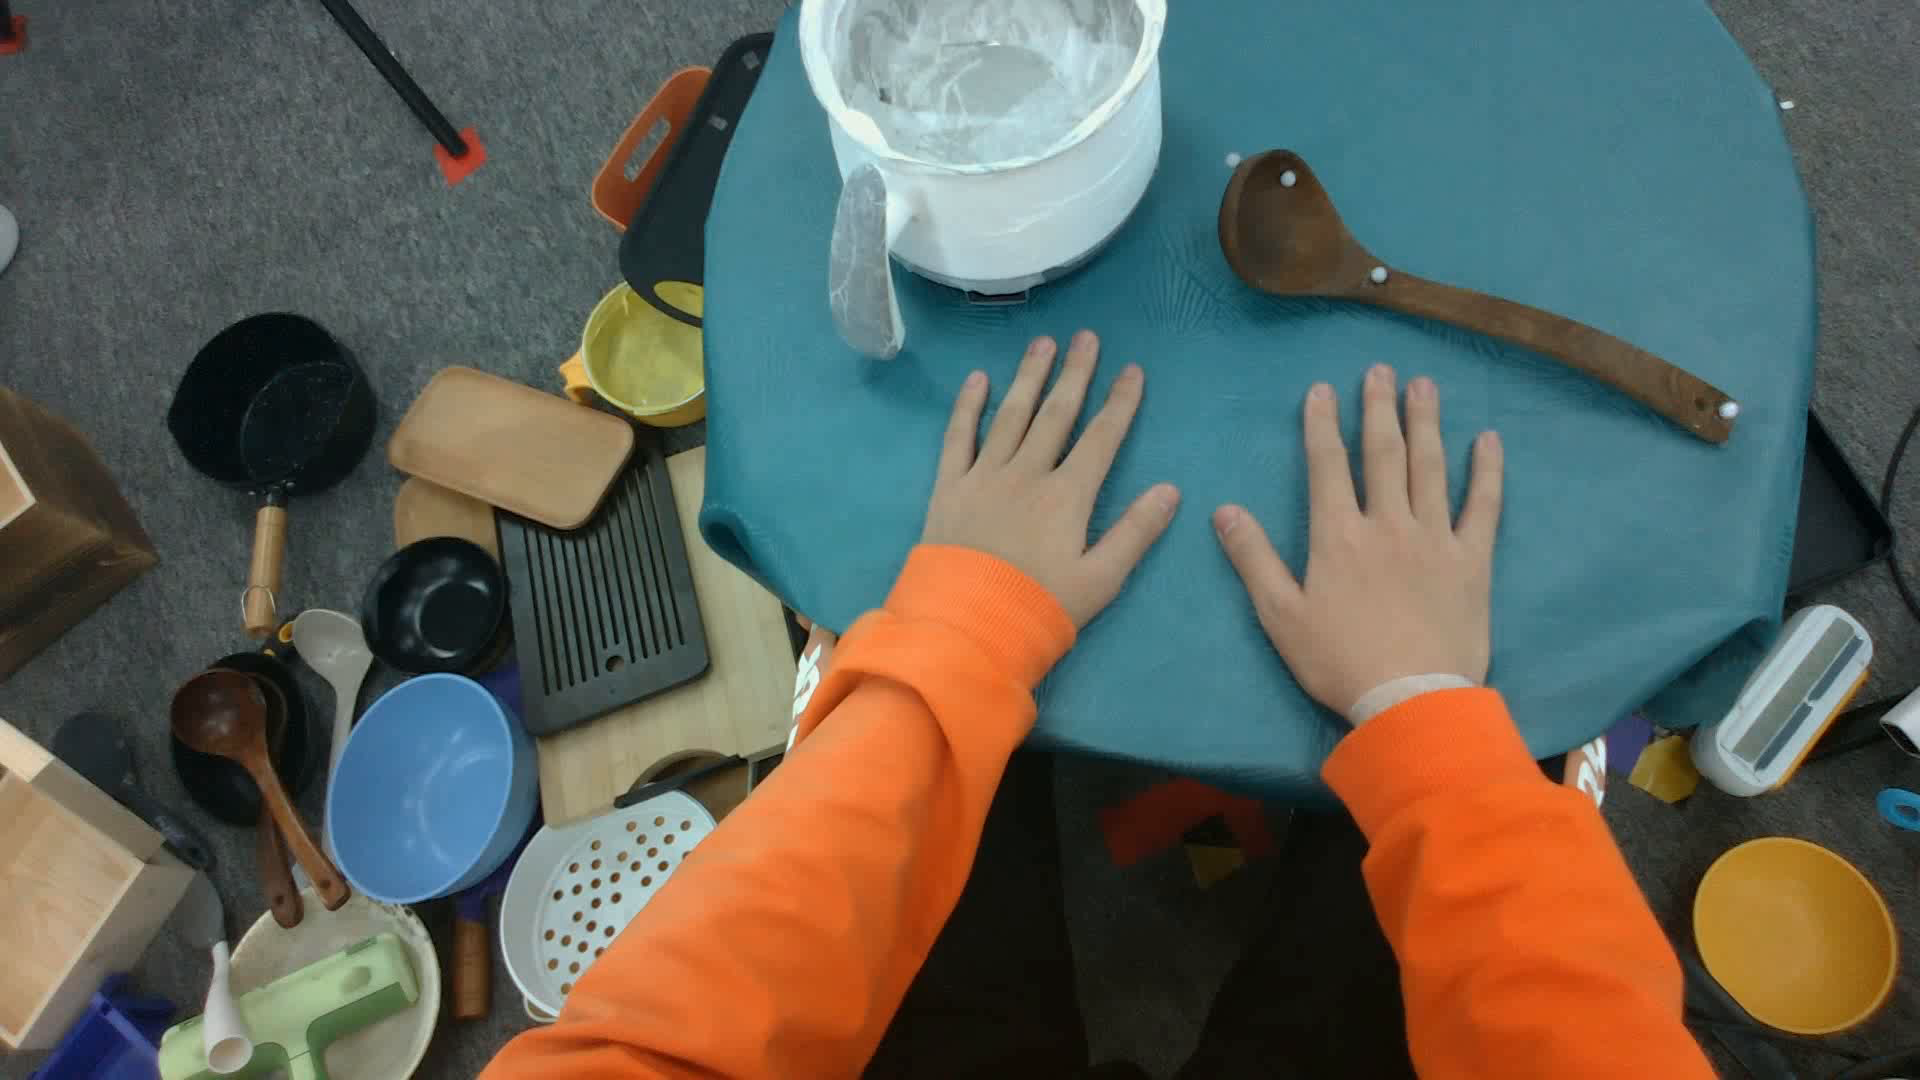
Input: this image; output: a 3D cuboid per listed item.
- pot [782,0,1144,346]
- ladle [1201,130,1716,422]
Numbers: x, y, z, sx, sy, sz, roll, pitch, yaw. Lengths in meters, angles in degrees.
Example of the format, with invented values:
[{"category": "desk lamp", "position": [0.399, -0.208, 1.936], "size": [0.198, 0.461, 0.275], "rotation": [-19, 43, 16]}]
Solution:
[{"category": "pot", "position": [-0.006, -0.216, 0.719], "size": [0.178, 0.136, 0.234], "rotation": [27, 76, 15]}, {"category": "ladle", "position": [0.253, -0.132, 0.696], "size": [0.274, 0.071, 0.076], "rotation": [24, 79, 15]}]
